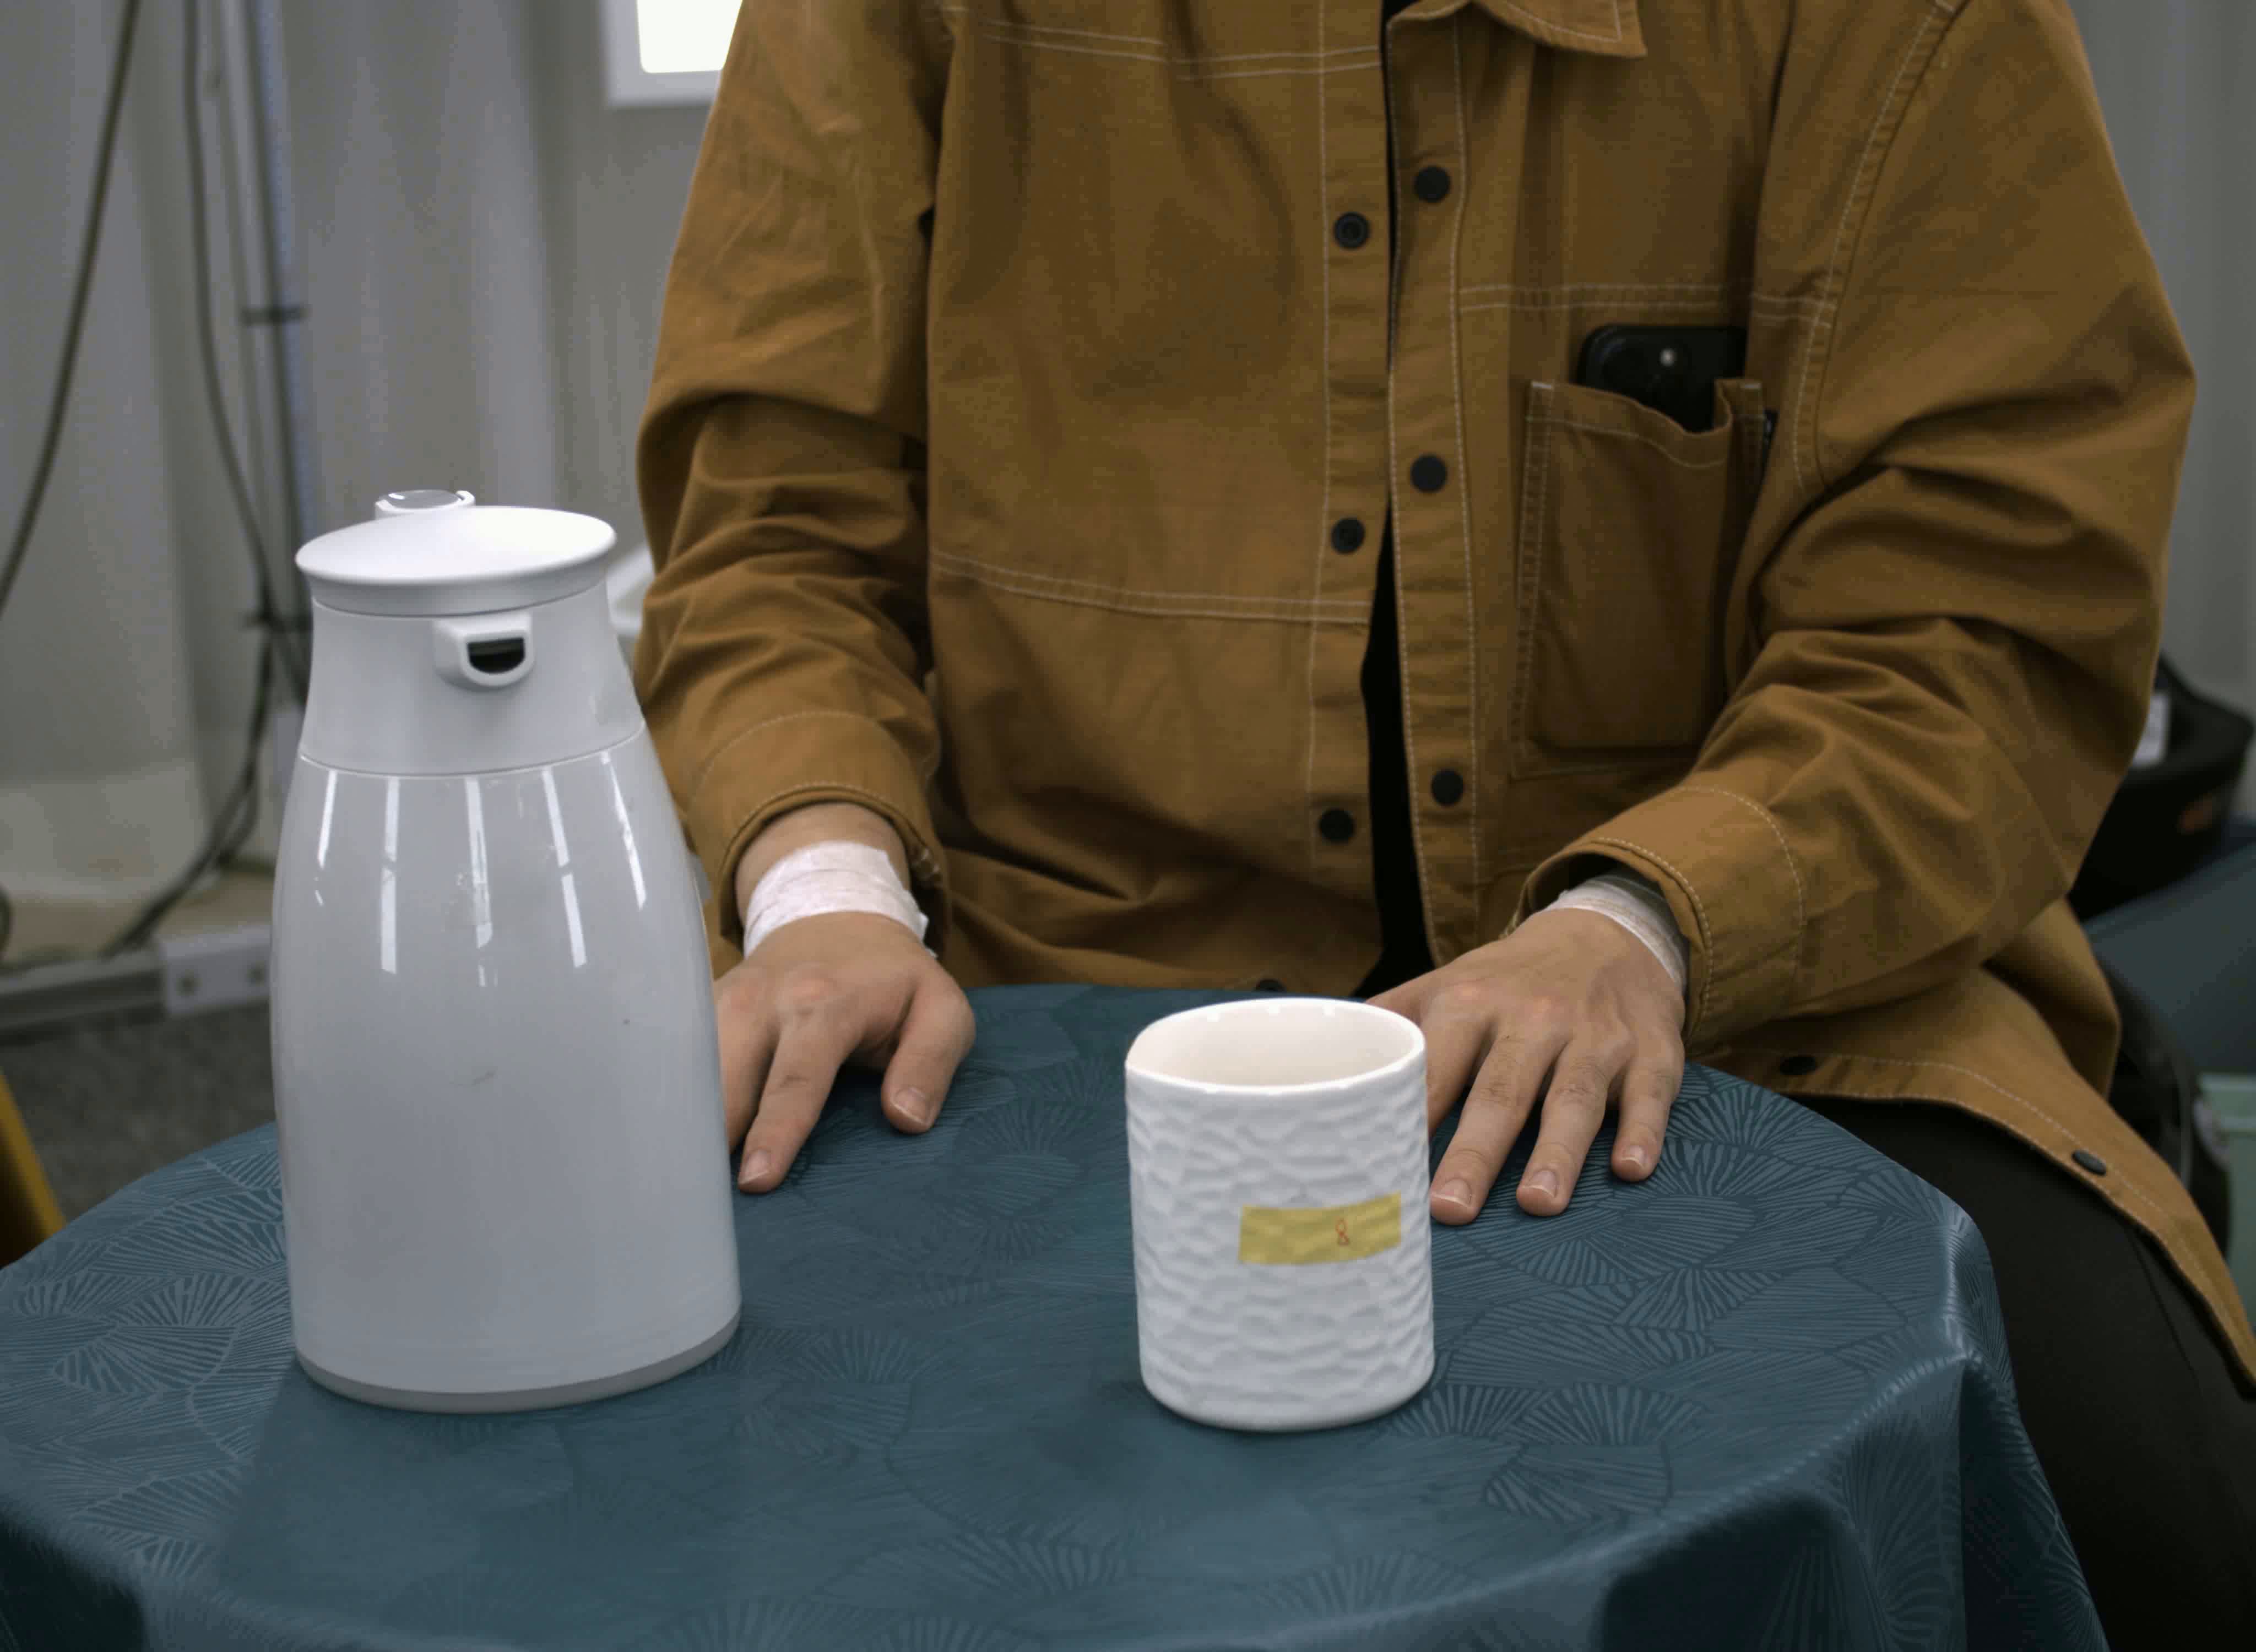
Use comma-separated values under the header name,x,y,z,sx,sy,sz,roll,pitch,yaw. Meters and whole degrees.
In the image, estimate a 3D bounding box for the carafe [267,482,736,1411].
name,x,y,z,sx,sy,sz,roll,pitch,yaw
carafe,-0.193,0.027,1.603,0.132,0.248,0.169,-7,14,-16

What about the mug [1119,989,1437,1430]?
name,x,y,z,sx,sy,sz,roll,pitch,yaw
mug,0.044,0.103,1.544,0.085,0.101,0.119,-3,16,5
